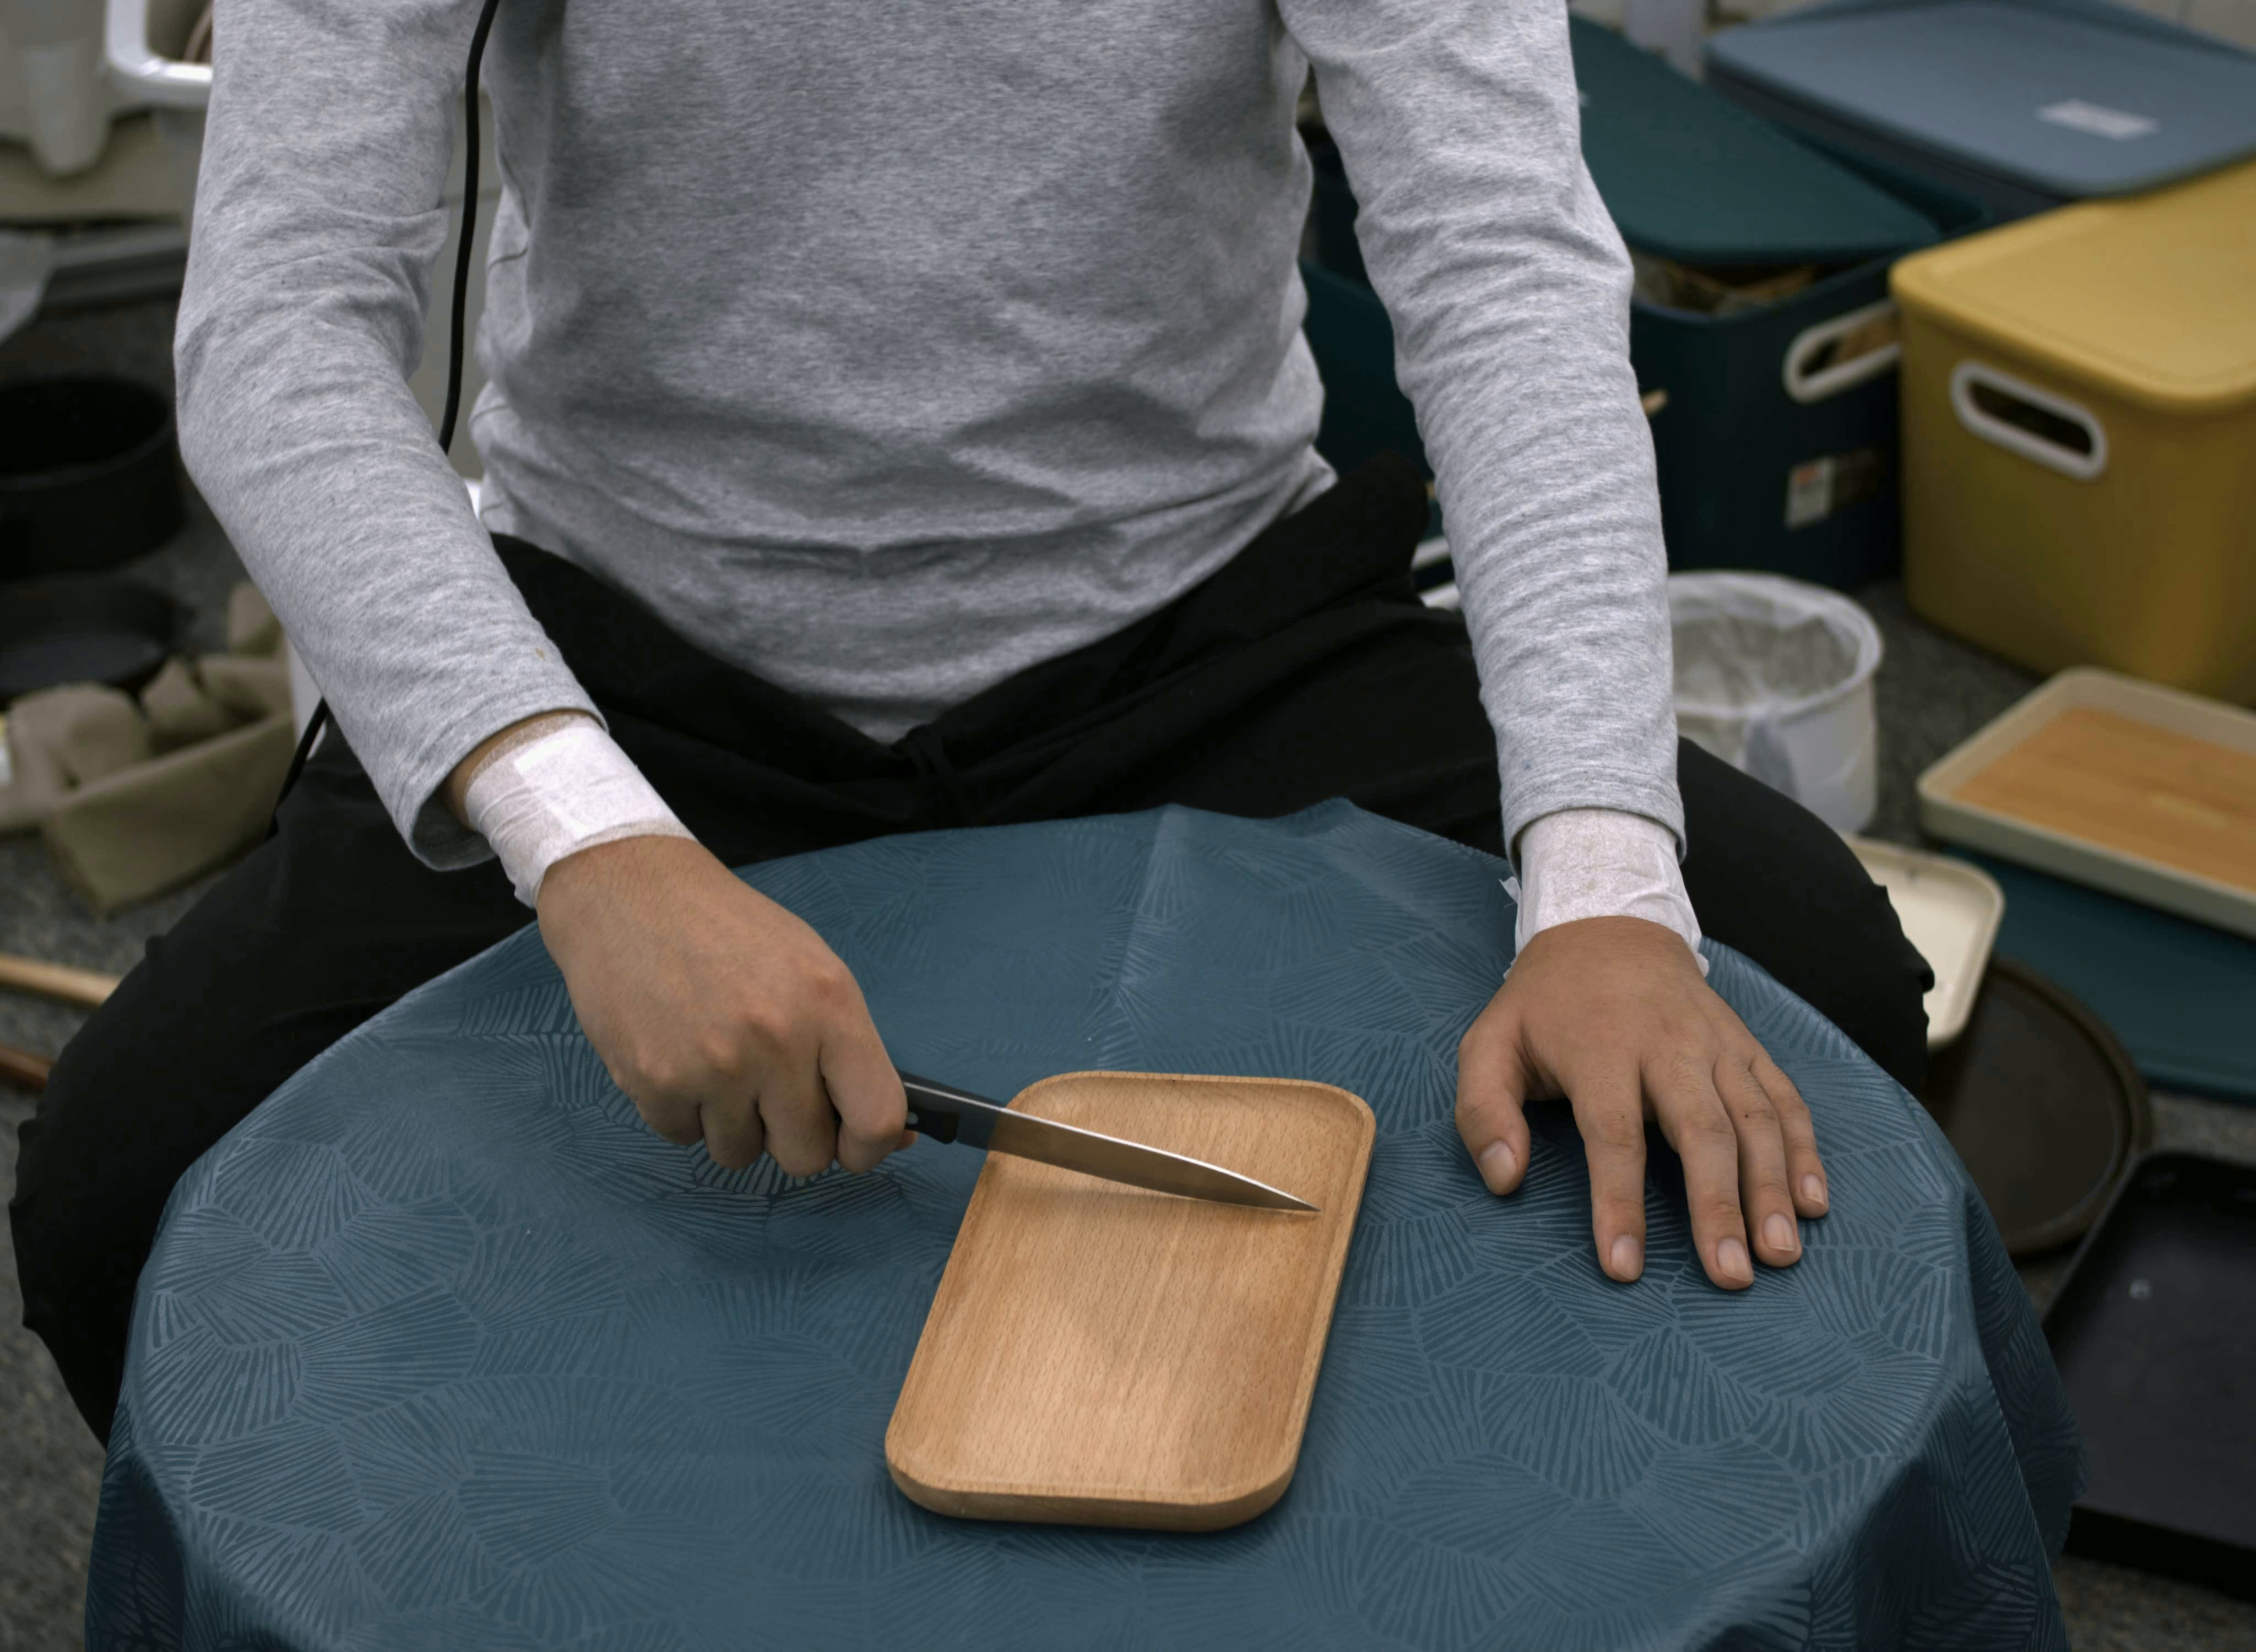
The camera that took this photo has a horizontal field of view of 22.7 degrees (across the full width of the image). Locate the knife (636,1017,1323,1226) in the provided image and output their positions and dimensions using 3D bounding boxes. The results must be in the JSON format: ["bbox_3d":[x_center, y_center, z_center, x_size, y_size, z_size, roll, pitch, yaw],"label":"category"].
[{"bbox_3d":[-0.050,0.099,1.846,0.237,0.024,0.016,14,44,10],"label":"knife"}]

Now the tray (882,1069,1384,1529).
[{"bbox_3d":[0.005,0.148,1.792,0.130,0.022,0.255,5,27,9],"label":"tray"}]
